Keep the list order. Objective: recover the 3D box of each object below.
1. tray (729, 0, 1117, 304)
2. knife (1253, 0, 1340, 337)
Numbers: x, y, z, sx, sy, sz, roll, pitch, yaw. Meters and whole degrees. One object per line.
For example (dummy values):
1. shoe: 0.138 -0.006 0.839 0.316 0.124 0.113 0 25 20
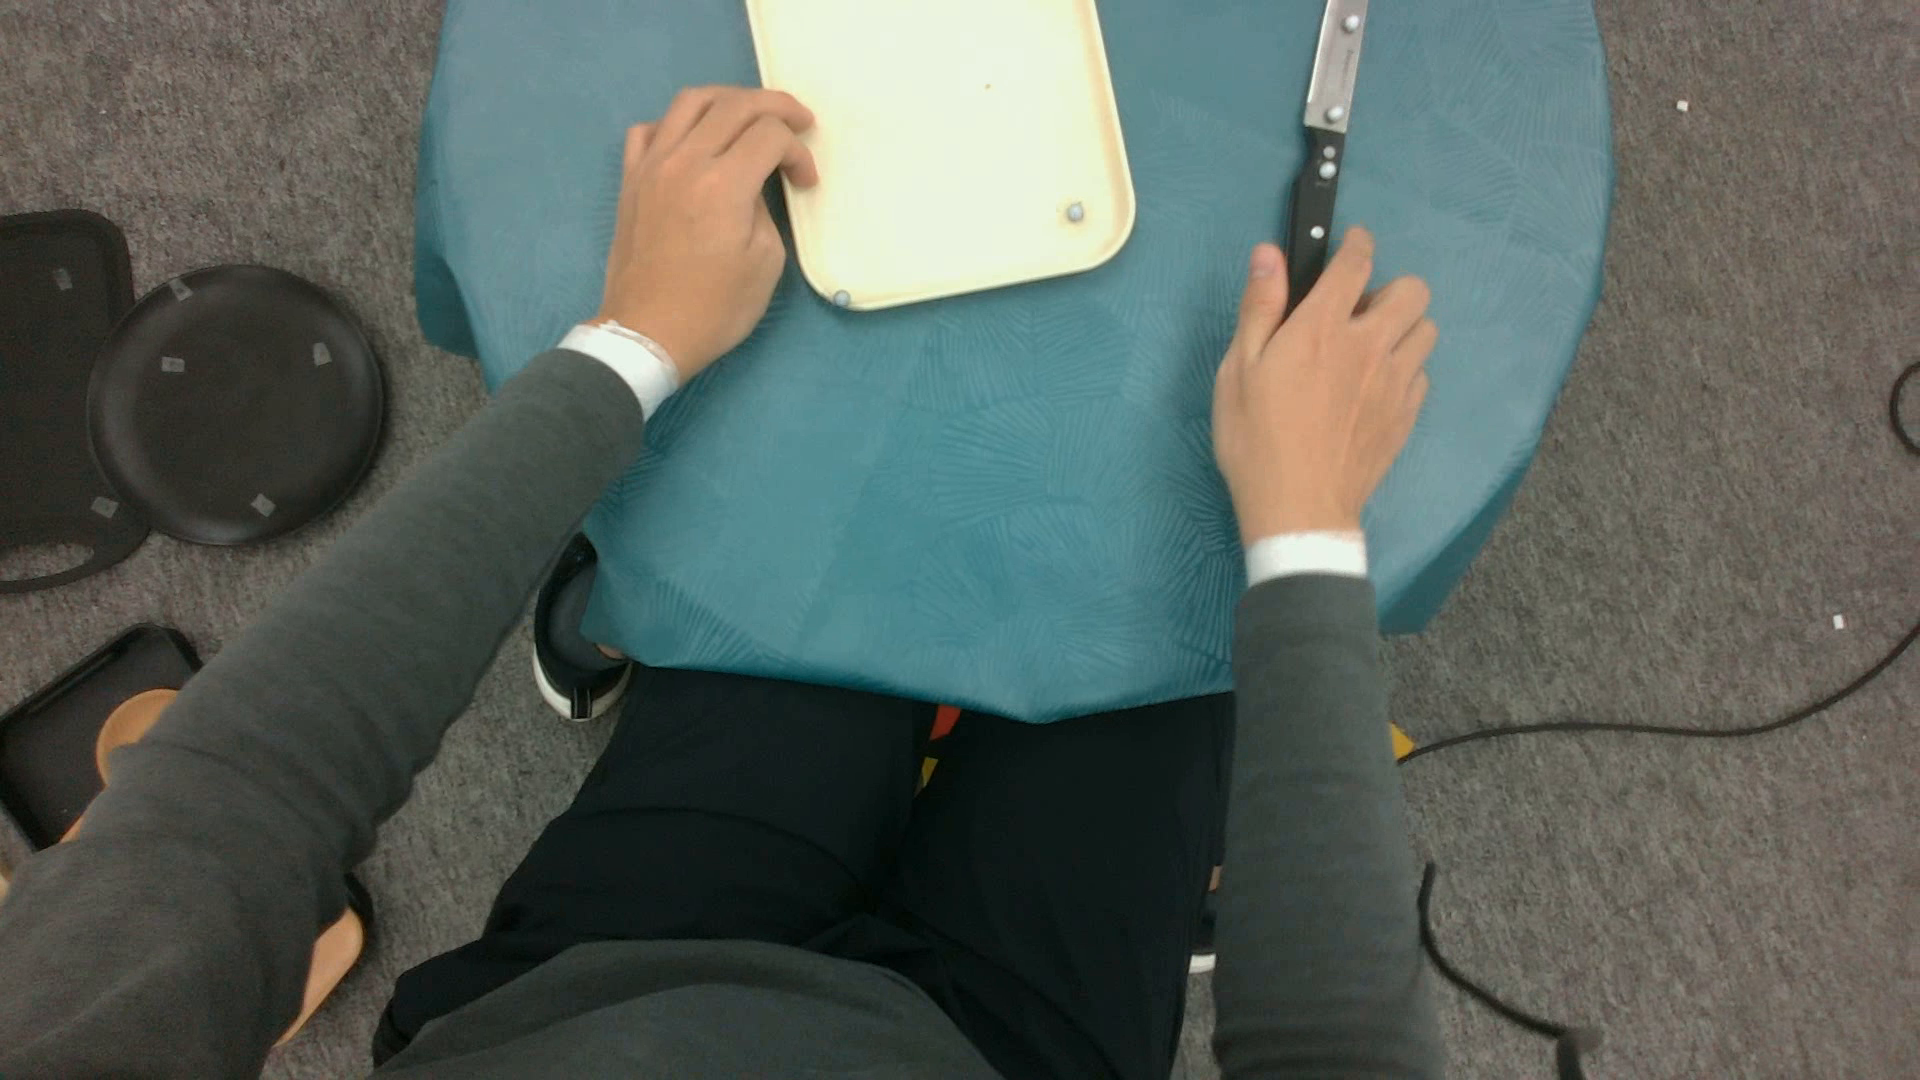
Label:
1. tray: -0.023 -0.242 0.690 0.171 0.017 0.240 -11 86 -7
2. knife: 0.178 -0.217 0.708 0.024 0.016 0.238 11 81 -6
